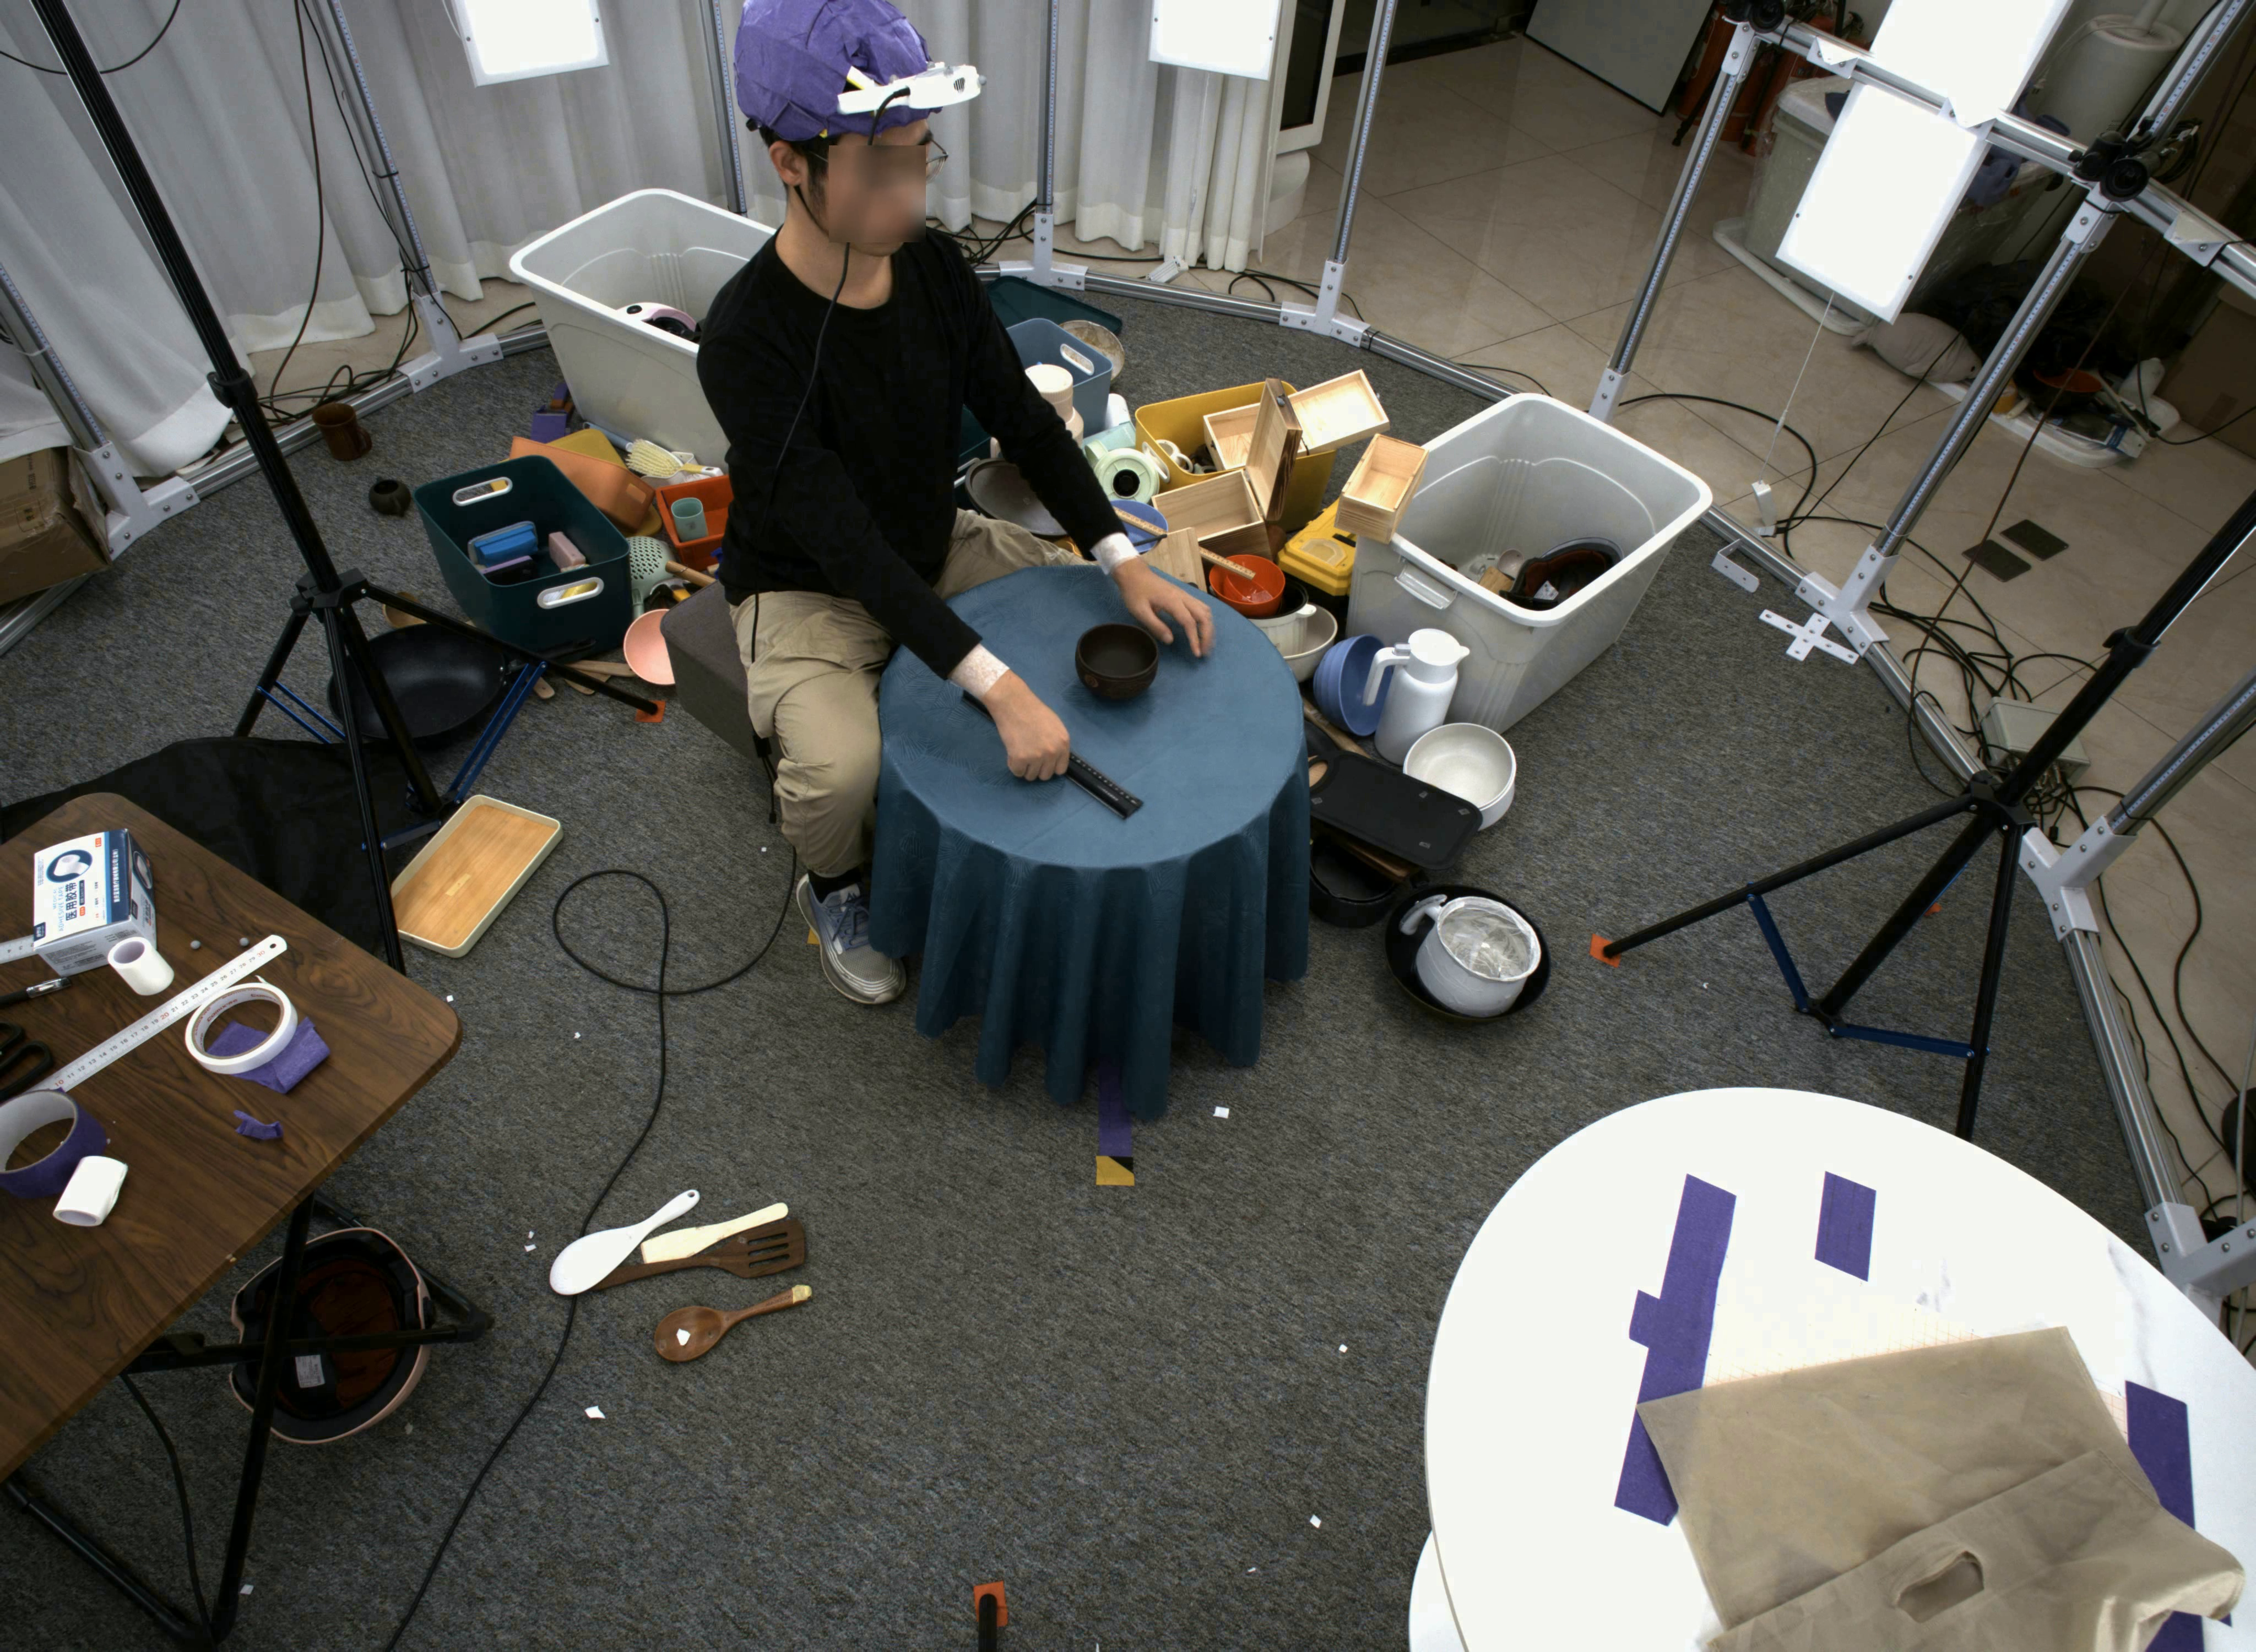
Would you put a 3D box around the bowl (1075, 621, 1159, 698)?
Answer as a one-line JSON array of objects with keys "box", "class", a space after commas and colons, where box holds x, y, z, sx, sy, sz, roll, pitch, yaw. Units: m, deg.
[{"box": [-0.017, -0.228, 1.819, 0.118, 0.068, 0.121, 2, 49, -3], "class": "bowl"}]

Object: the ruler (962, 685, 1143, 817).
[{"box": [-0.105, -0.110, 1.747, 0.317, 0.017, 0.039, 36, 56, 25], "class": "ruler"}]
